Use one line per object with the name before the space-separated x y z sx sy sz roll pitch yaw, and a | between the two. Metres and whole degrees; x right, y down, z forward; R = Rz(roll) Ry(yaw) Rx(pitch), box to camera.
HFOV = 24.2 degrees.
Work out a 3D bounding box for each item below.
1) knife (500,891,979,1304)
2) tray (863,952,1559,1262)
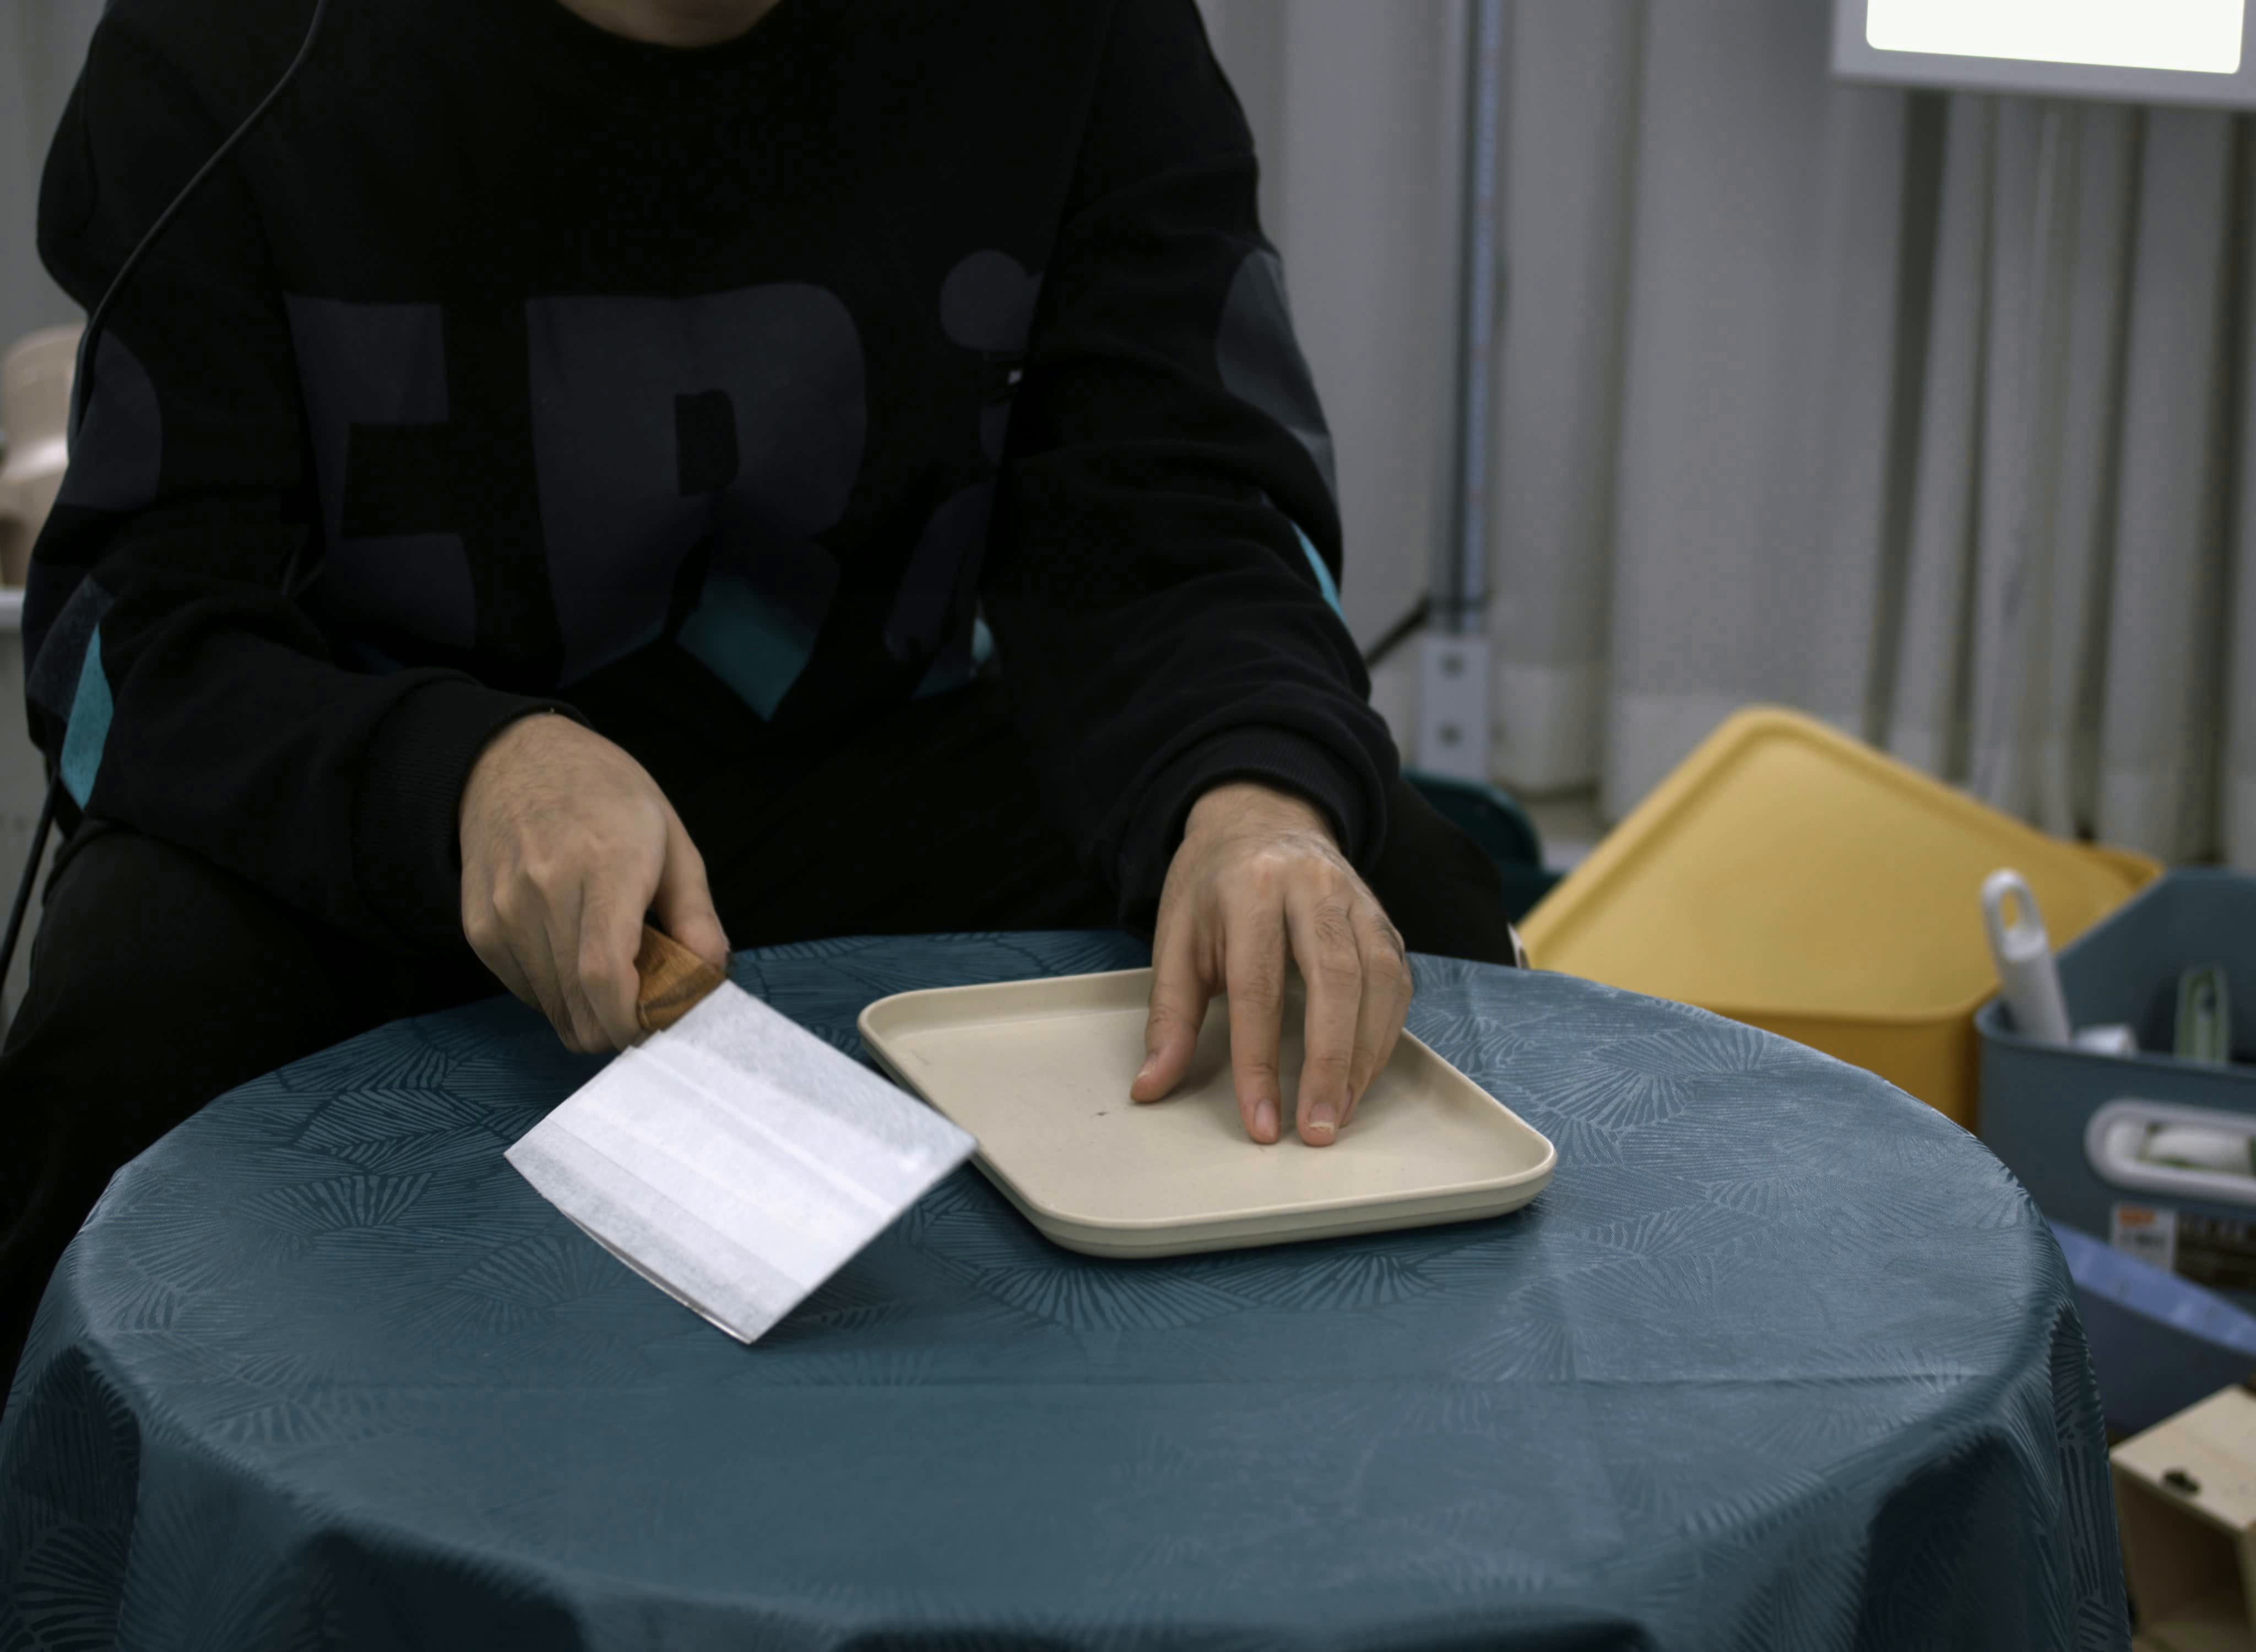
knife | -0.144 0.084 1.625 0.093 0.021 0.302 -40 29 -14
tray | 0.022 0.088 1.674 0.171 0.017 0.237 -6 17 -18
